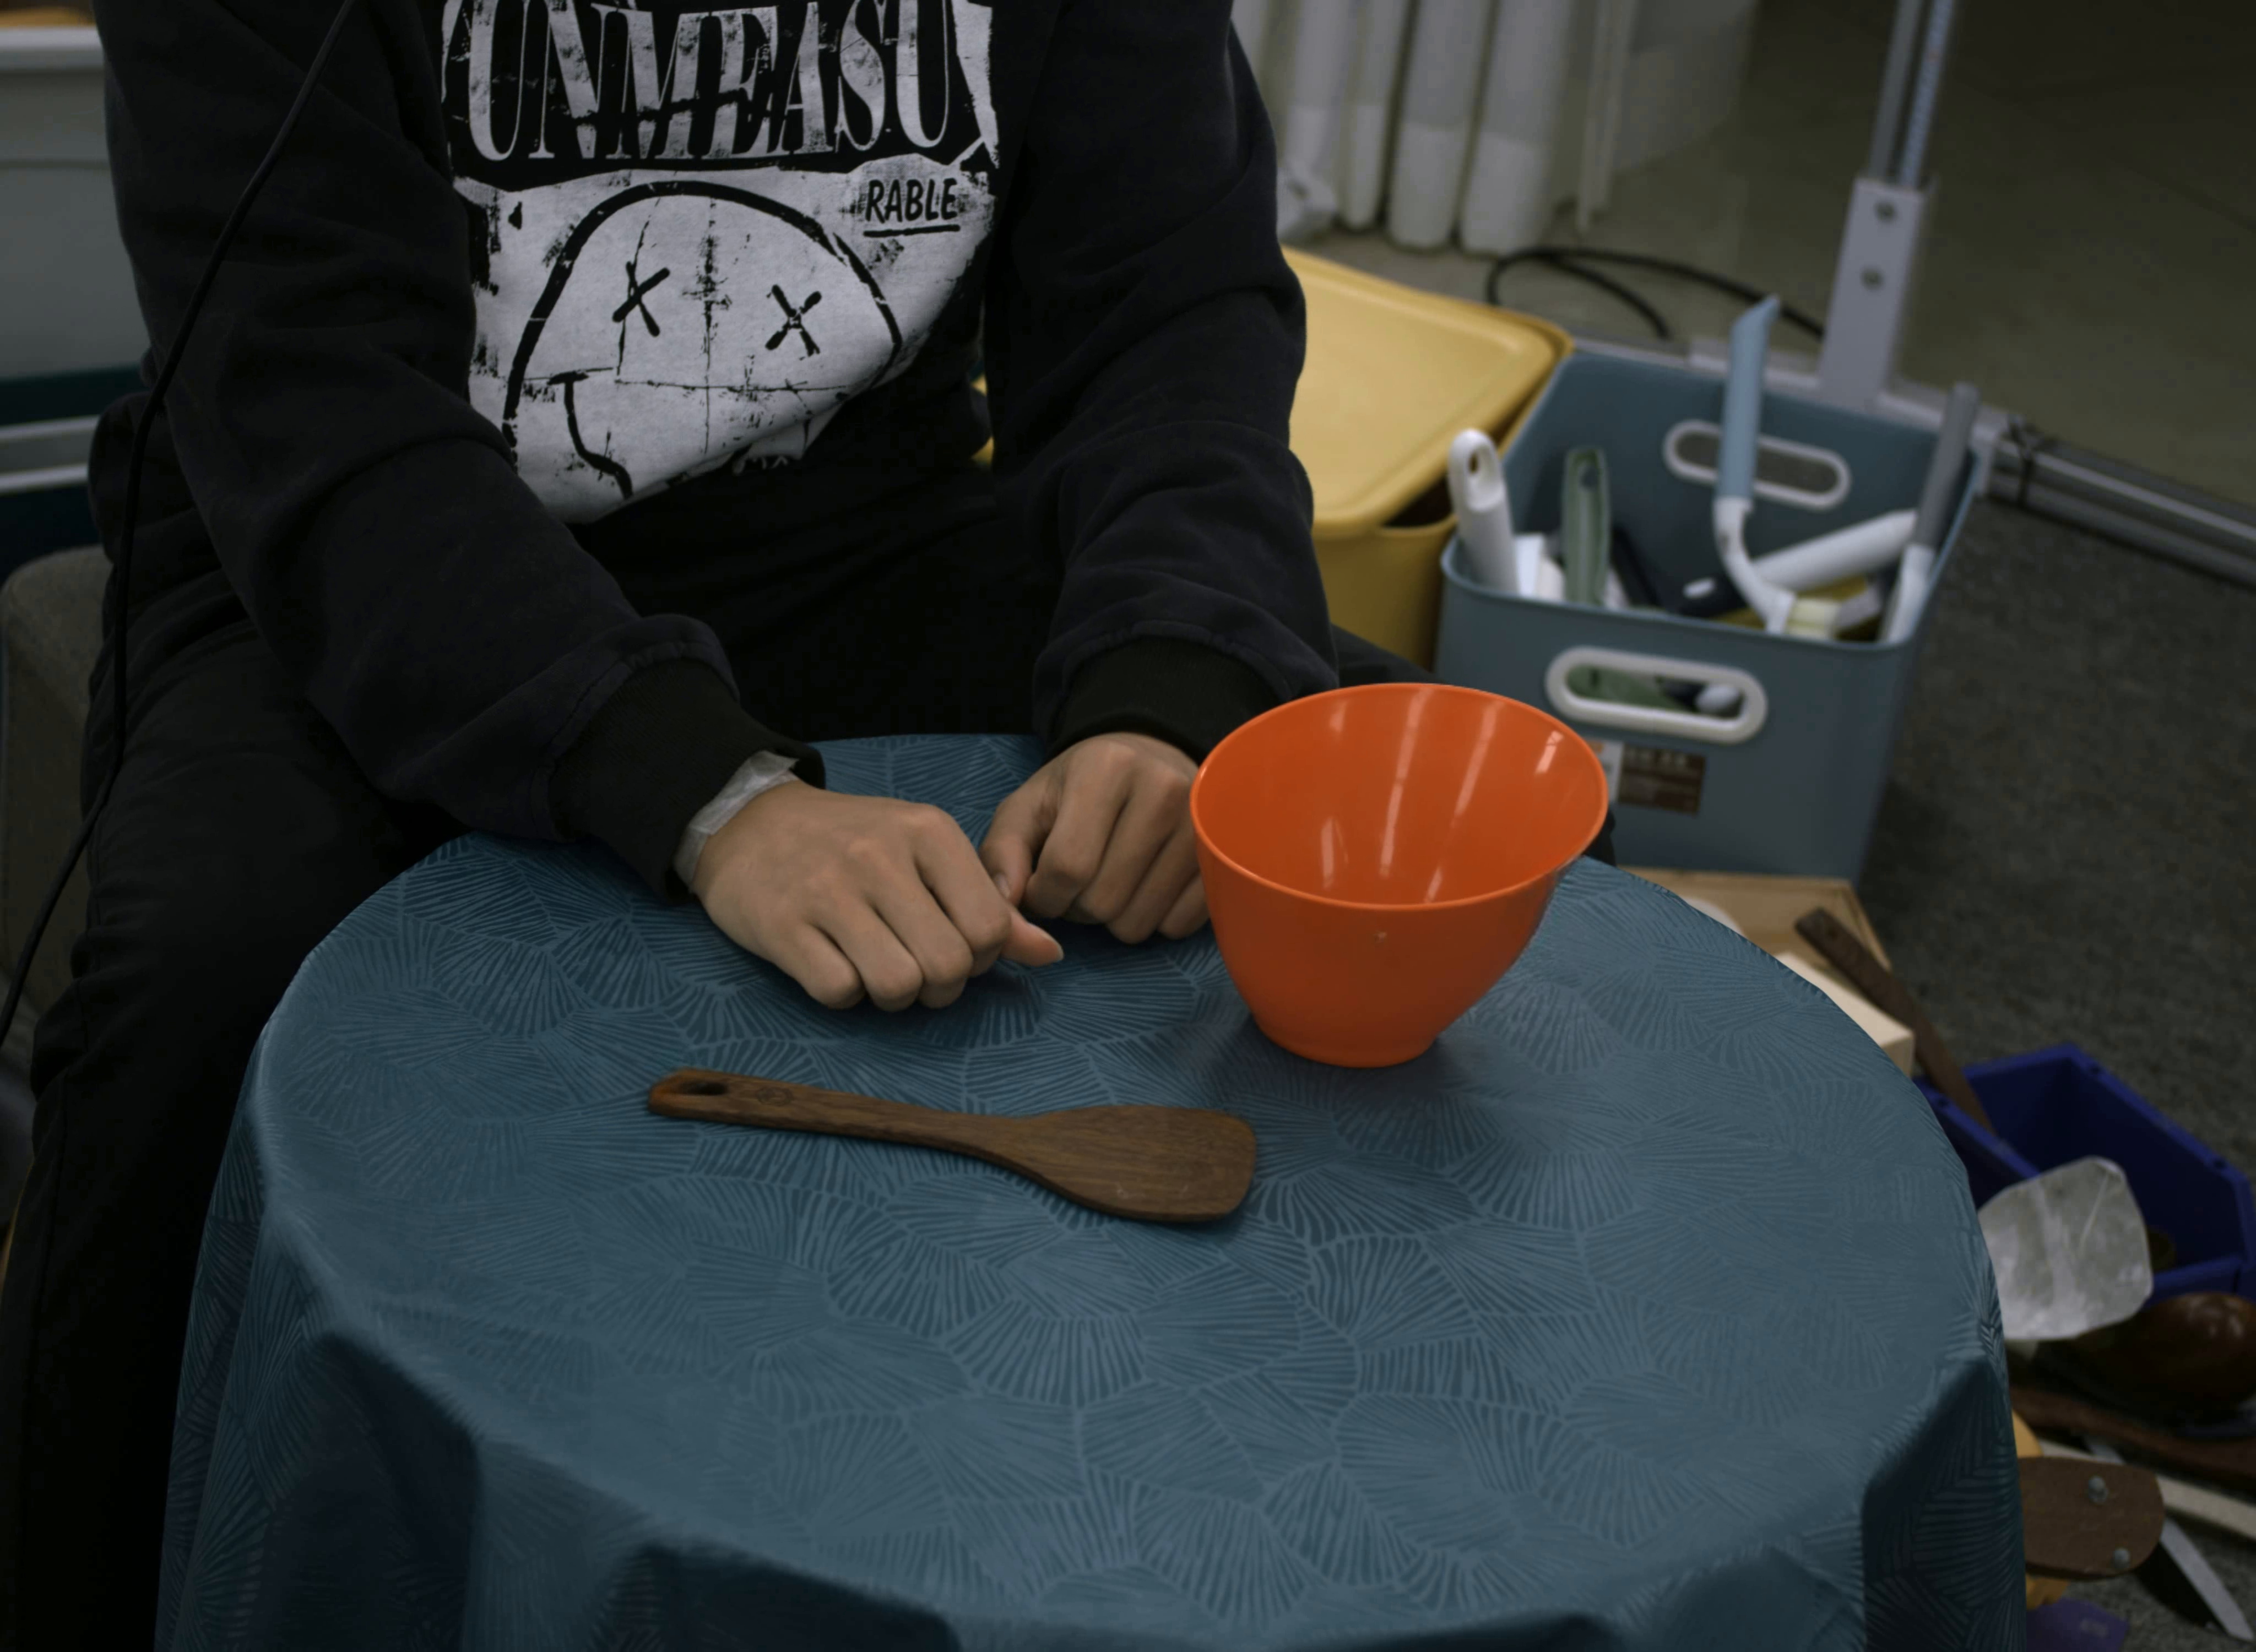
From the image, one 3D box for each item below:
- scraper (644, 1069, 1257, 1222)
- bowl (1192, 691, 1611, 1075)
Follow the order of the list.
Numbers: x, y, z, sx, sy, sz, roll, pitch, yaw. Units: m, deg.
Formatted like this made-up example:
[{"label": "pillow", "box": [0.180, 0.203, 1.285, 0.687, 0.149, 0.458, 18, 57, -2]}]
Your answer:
[{"label": "scraper", "box": [-0.061, 0.104, 1.816, 0.211, 0.011, 0.076, 8, 25, 4]}, {"label": "bowl", "box": [0.093, 0.026, 1.903, 0.147, 0.104, 0.149, 5, 27, -3]}]
